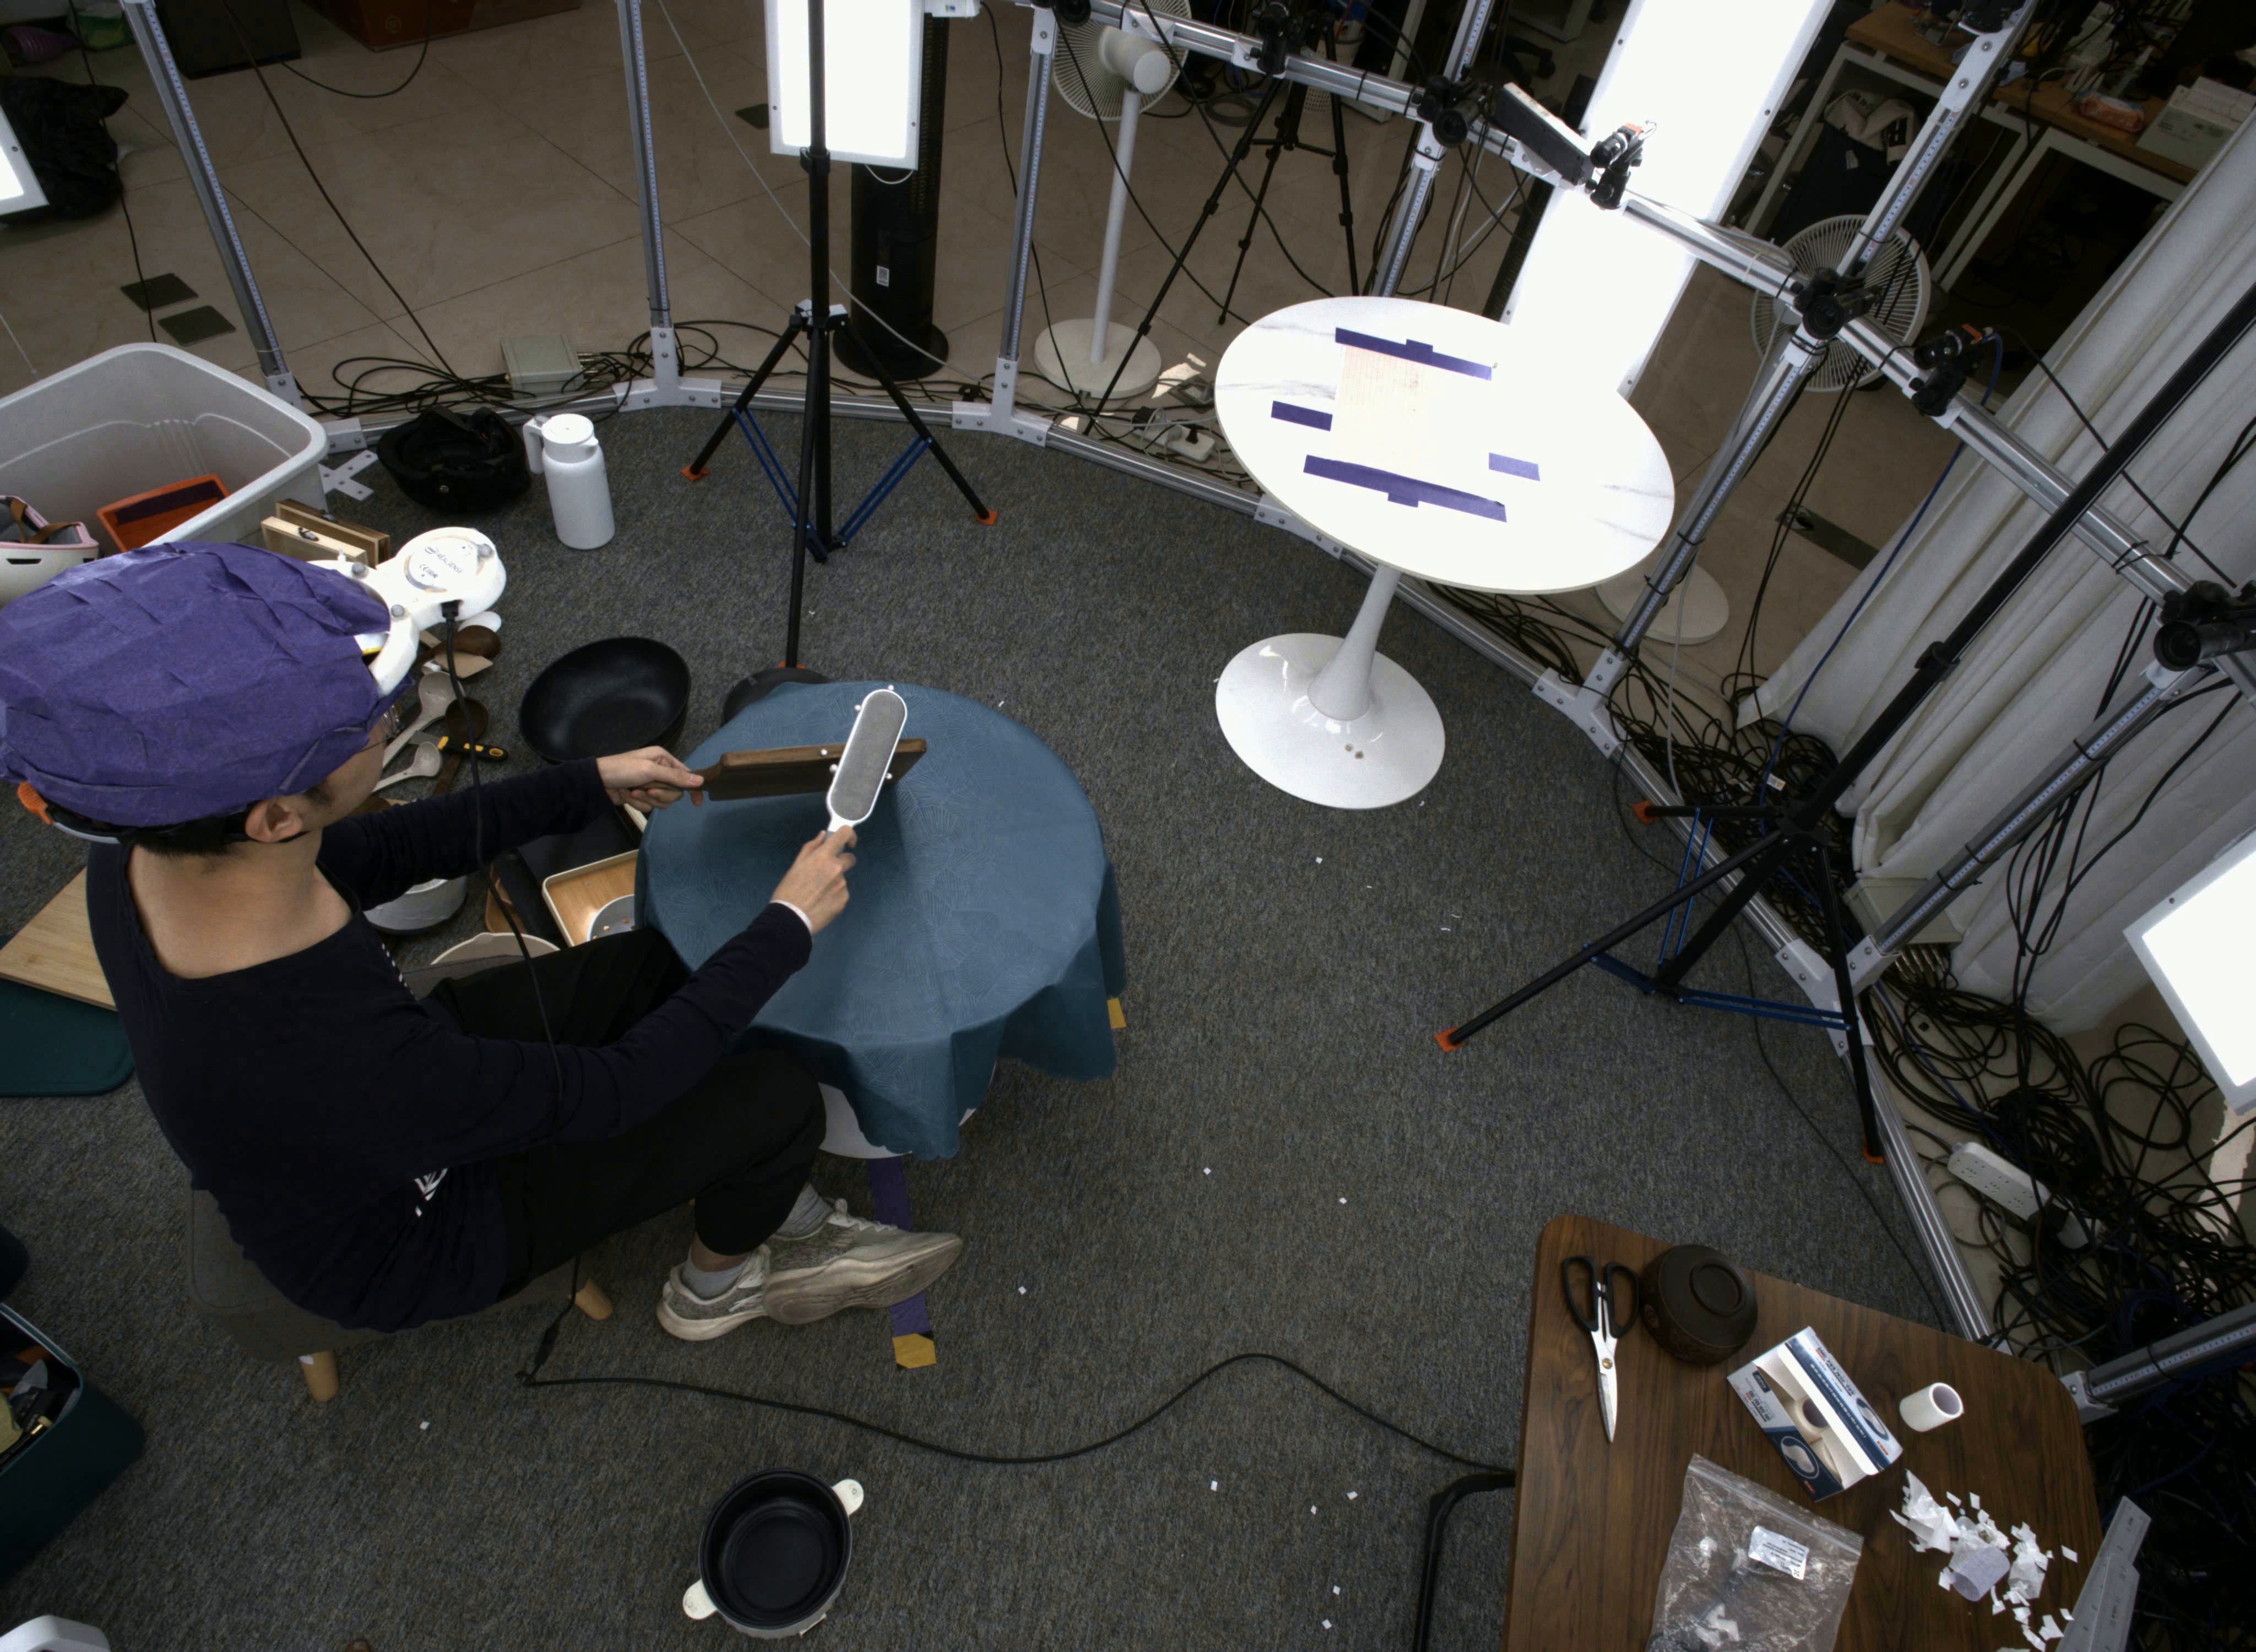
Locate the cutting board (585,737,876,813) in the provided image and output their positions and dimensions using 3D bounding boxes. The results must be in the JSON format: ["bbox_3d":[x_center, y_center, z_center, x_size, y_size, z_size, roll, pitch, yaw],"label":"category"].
[{"bbox_3d":[-0.506,-0.058,1.621,0.355,0.198,0.023,-9,81,-26],"label":"cutting board"}]

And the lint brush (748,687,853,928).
[{"bbox_3d":[-0.394,-0.027,1.541,0.061,0.020,0.308,24,68,-25],"label":"lint brush"}]
